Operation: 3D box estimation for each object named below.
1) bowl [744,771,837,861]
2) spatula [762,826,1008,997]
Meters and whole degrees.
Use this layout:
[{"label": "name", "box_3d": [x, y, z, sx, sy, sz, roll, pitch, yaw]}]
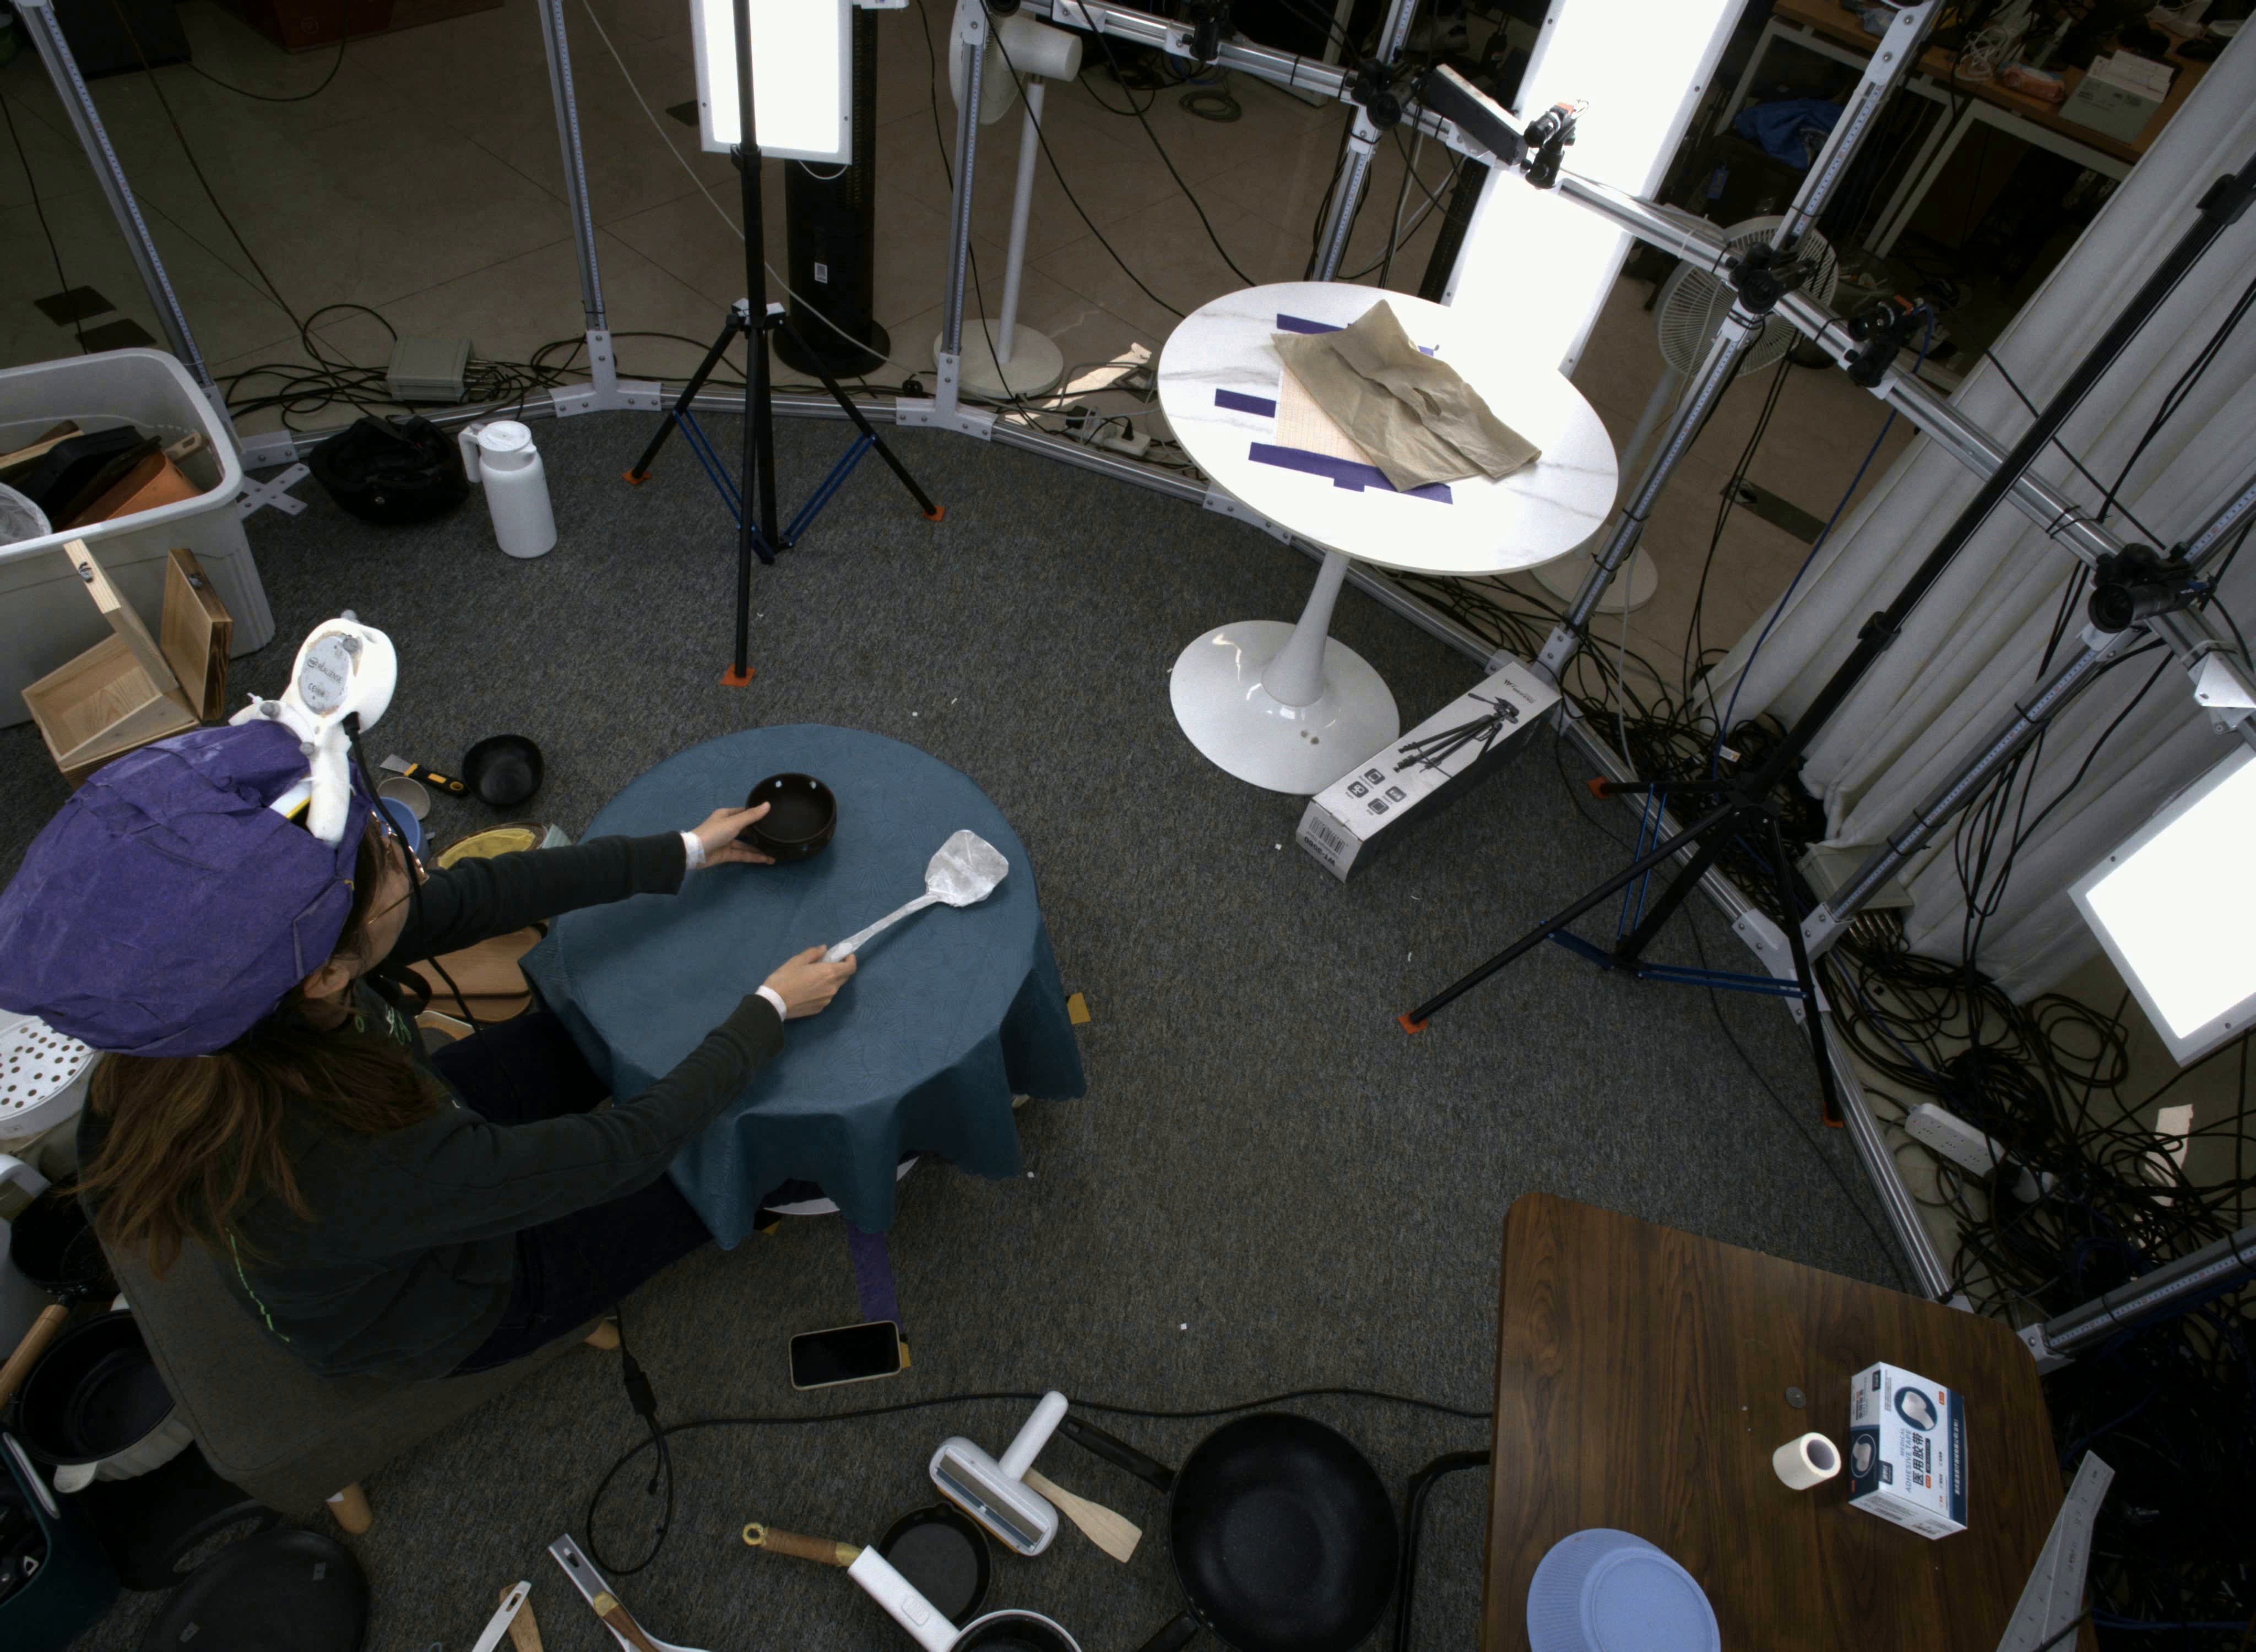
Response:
[{"label": "bowl", "box_3d": [-0.437, -0.006, 1.683, 0.117, 0.071, 0.116, 7, 51, -7]}, {"label": "spatula", "box_3d": [-0.305, 0.112, 1.637, 0.096, 0.045, 0.366, 41, 49, 19]}]
